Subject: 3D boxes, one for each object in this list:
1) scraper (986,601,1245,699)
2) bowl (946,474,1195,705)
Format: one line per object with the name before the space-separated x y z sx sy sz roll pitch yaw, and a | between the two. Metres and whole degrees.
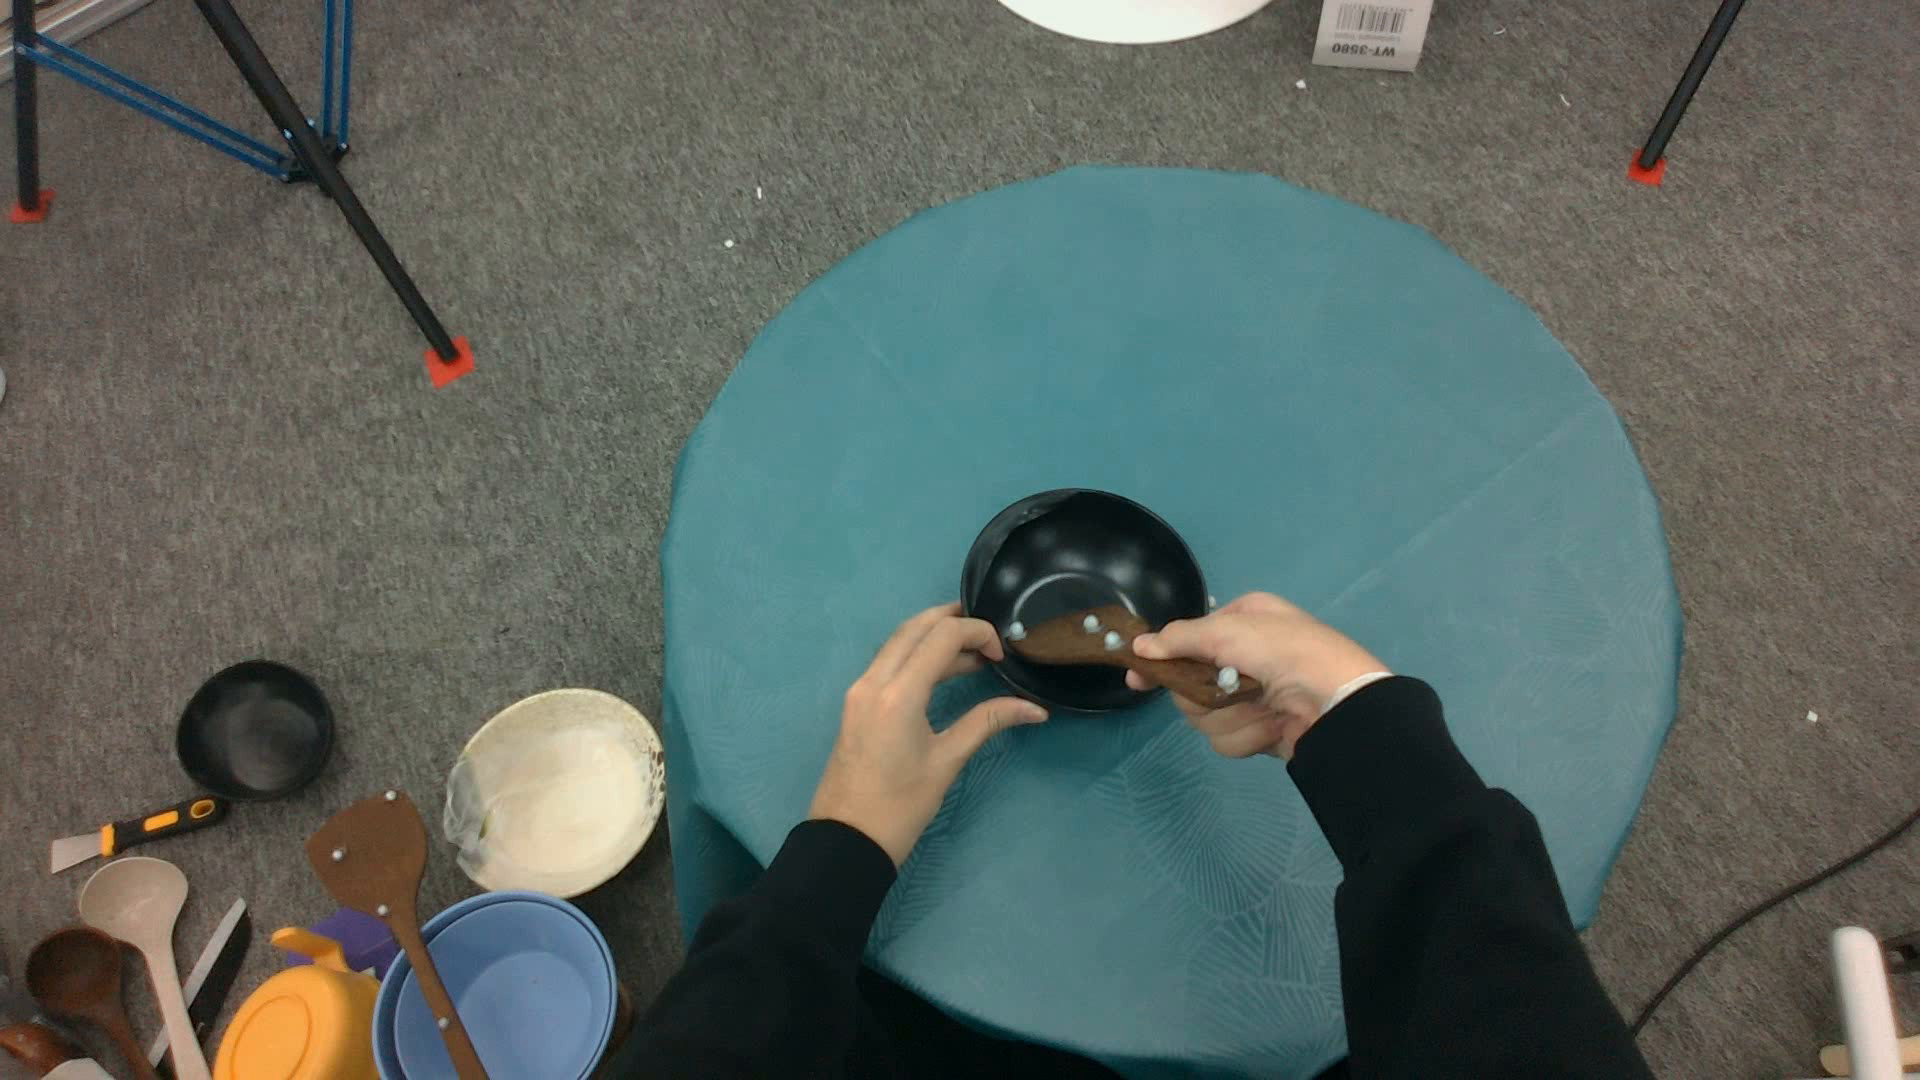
scraper | 0.079 0.055 0.681 0.076 0.211 0.011 -16 99 -17
bowl | 0.058 0.034 0.773 0.140 0.049 0.140 4 61 -7
